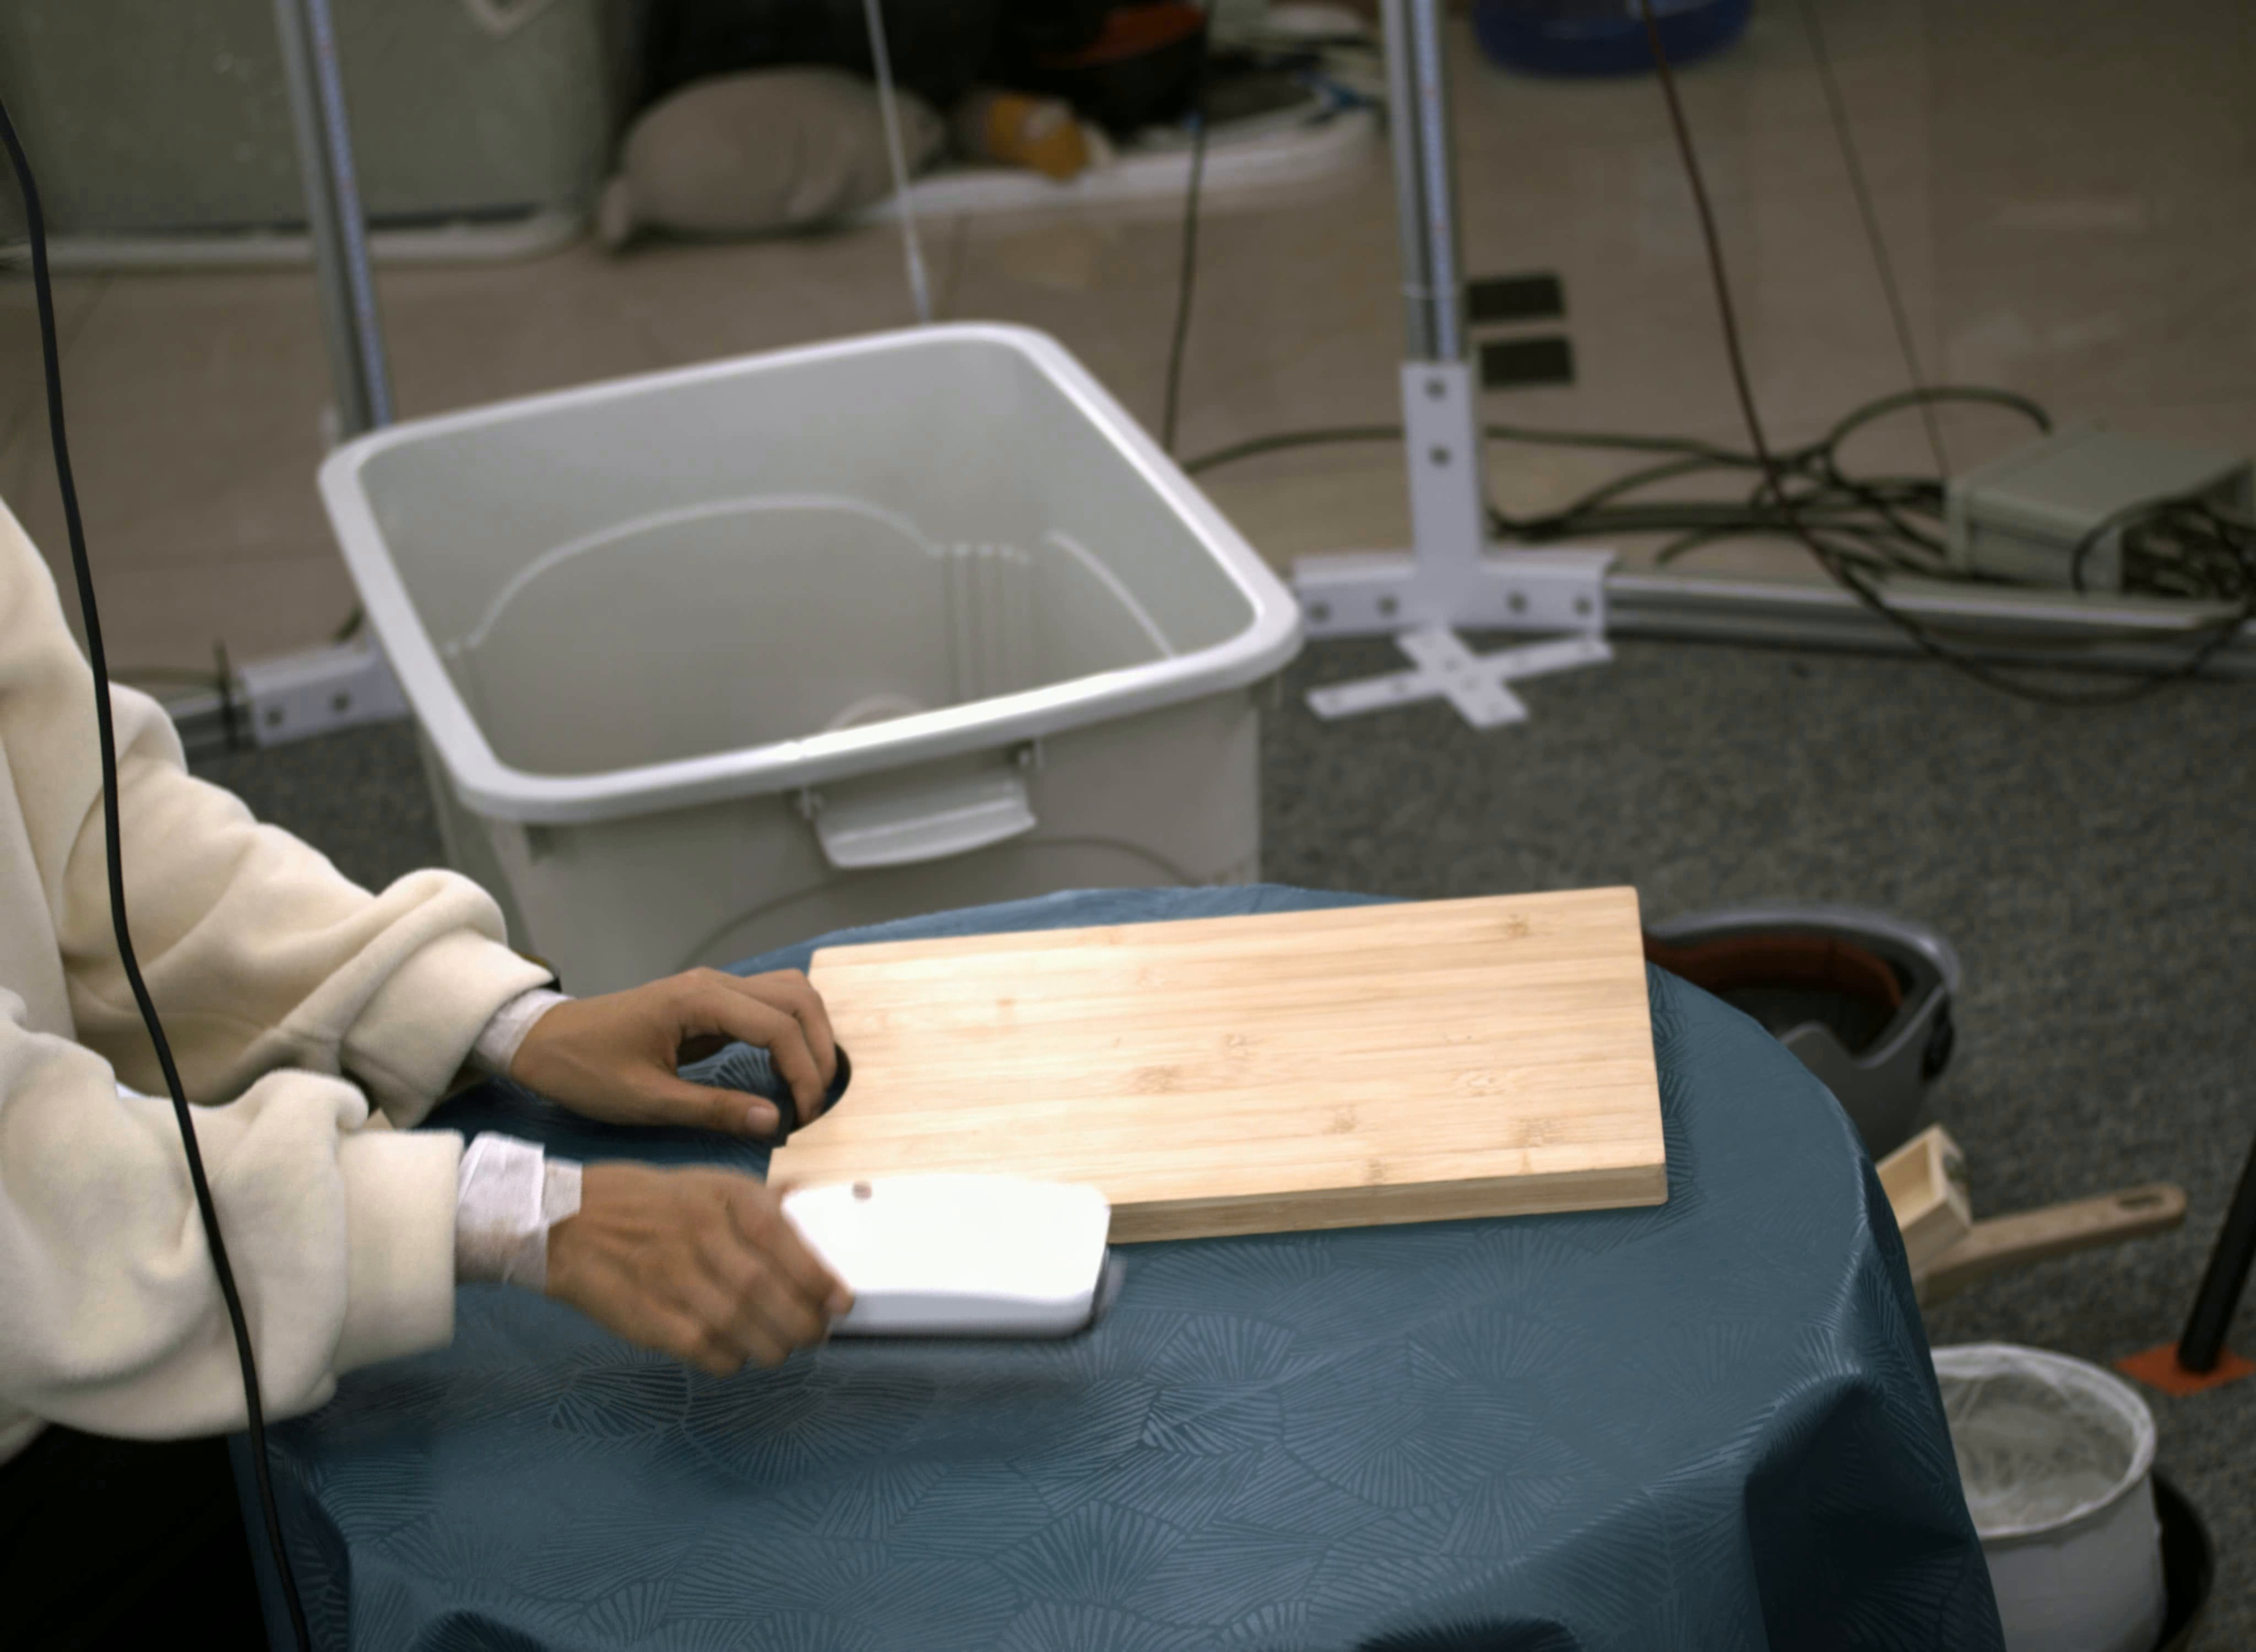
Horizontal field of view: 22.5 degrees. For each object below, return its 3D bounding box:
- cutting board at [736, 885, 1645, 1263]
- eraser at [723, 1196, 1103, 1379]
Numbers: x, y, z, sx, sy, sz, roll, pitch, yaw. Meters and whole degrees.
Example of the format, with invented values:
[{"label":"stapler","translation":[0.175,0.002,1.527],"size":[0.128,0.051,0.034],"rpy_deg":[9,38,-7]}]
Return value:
[{"label":"cutting board","translation":[0.030,0.096,2.214],"size":[0.348,0.024,0.247],"rpy_deg":[-5,25,4]},{"label":"eraser","translation":[-0.075,0.164,2.006],"size":[0.131,0.035,0.062],"rpy_deg":[2,34,12]}]
